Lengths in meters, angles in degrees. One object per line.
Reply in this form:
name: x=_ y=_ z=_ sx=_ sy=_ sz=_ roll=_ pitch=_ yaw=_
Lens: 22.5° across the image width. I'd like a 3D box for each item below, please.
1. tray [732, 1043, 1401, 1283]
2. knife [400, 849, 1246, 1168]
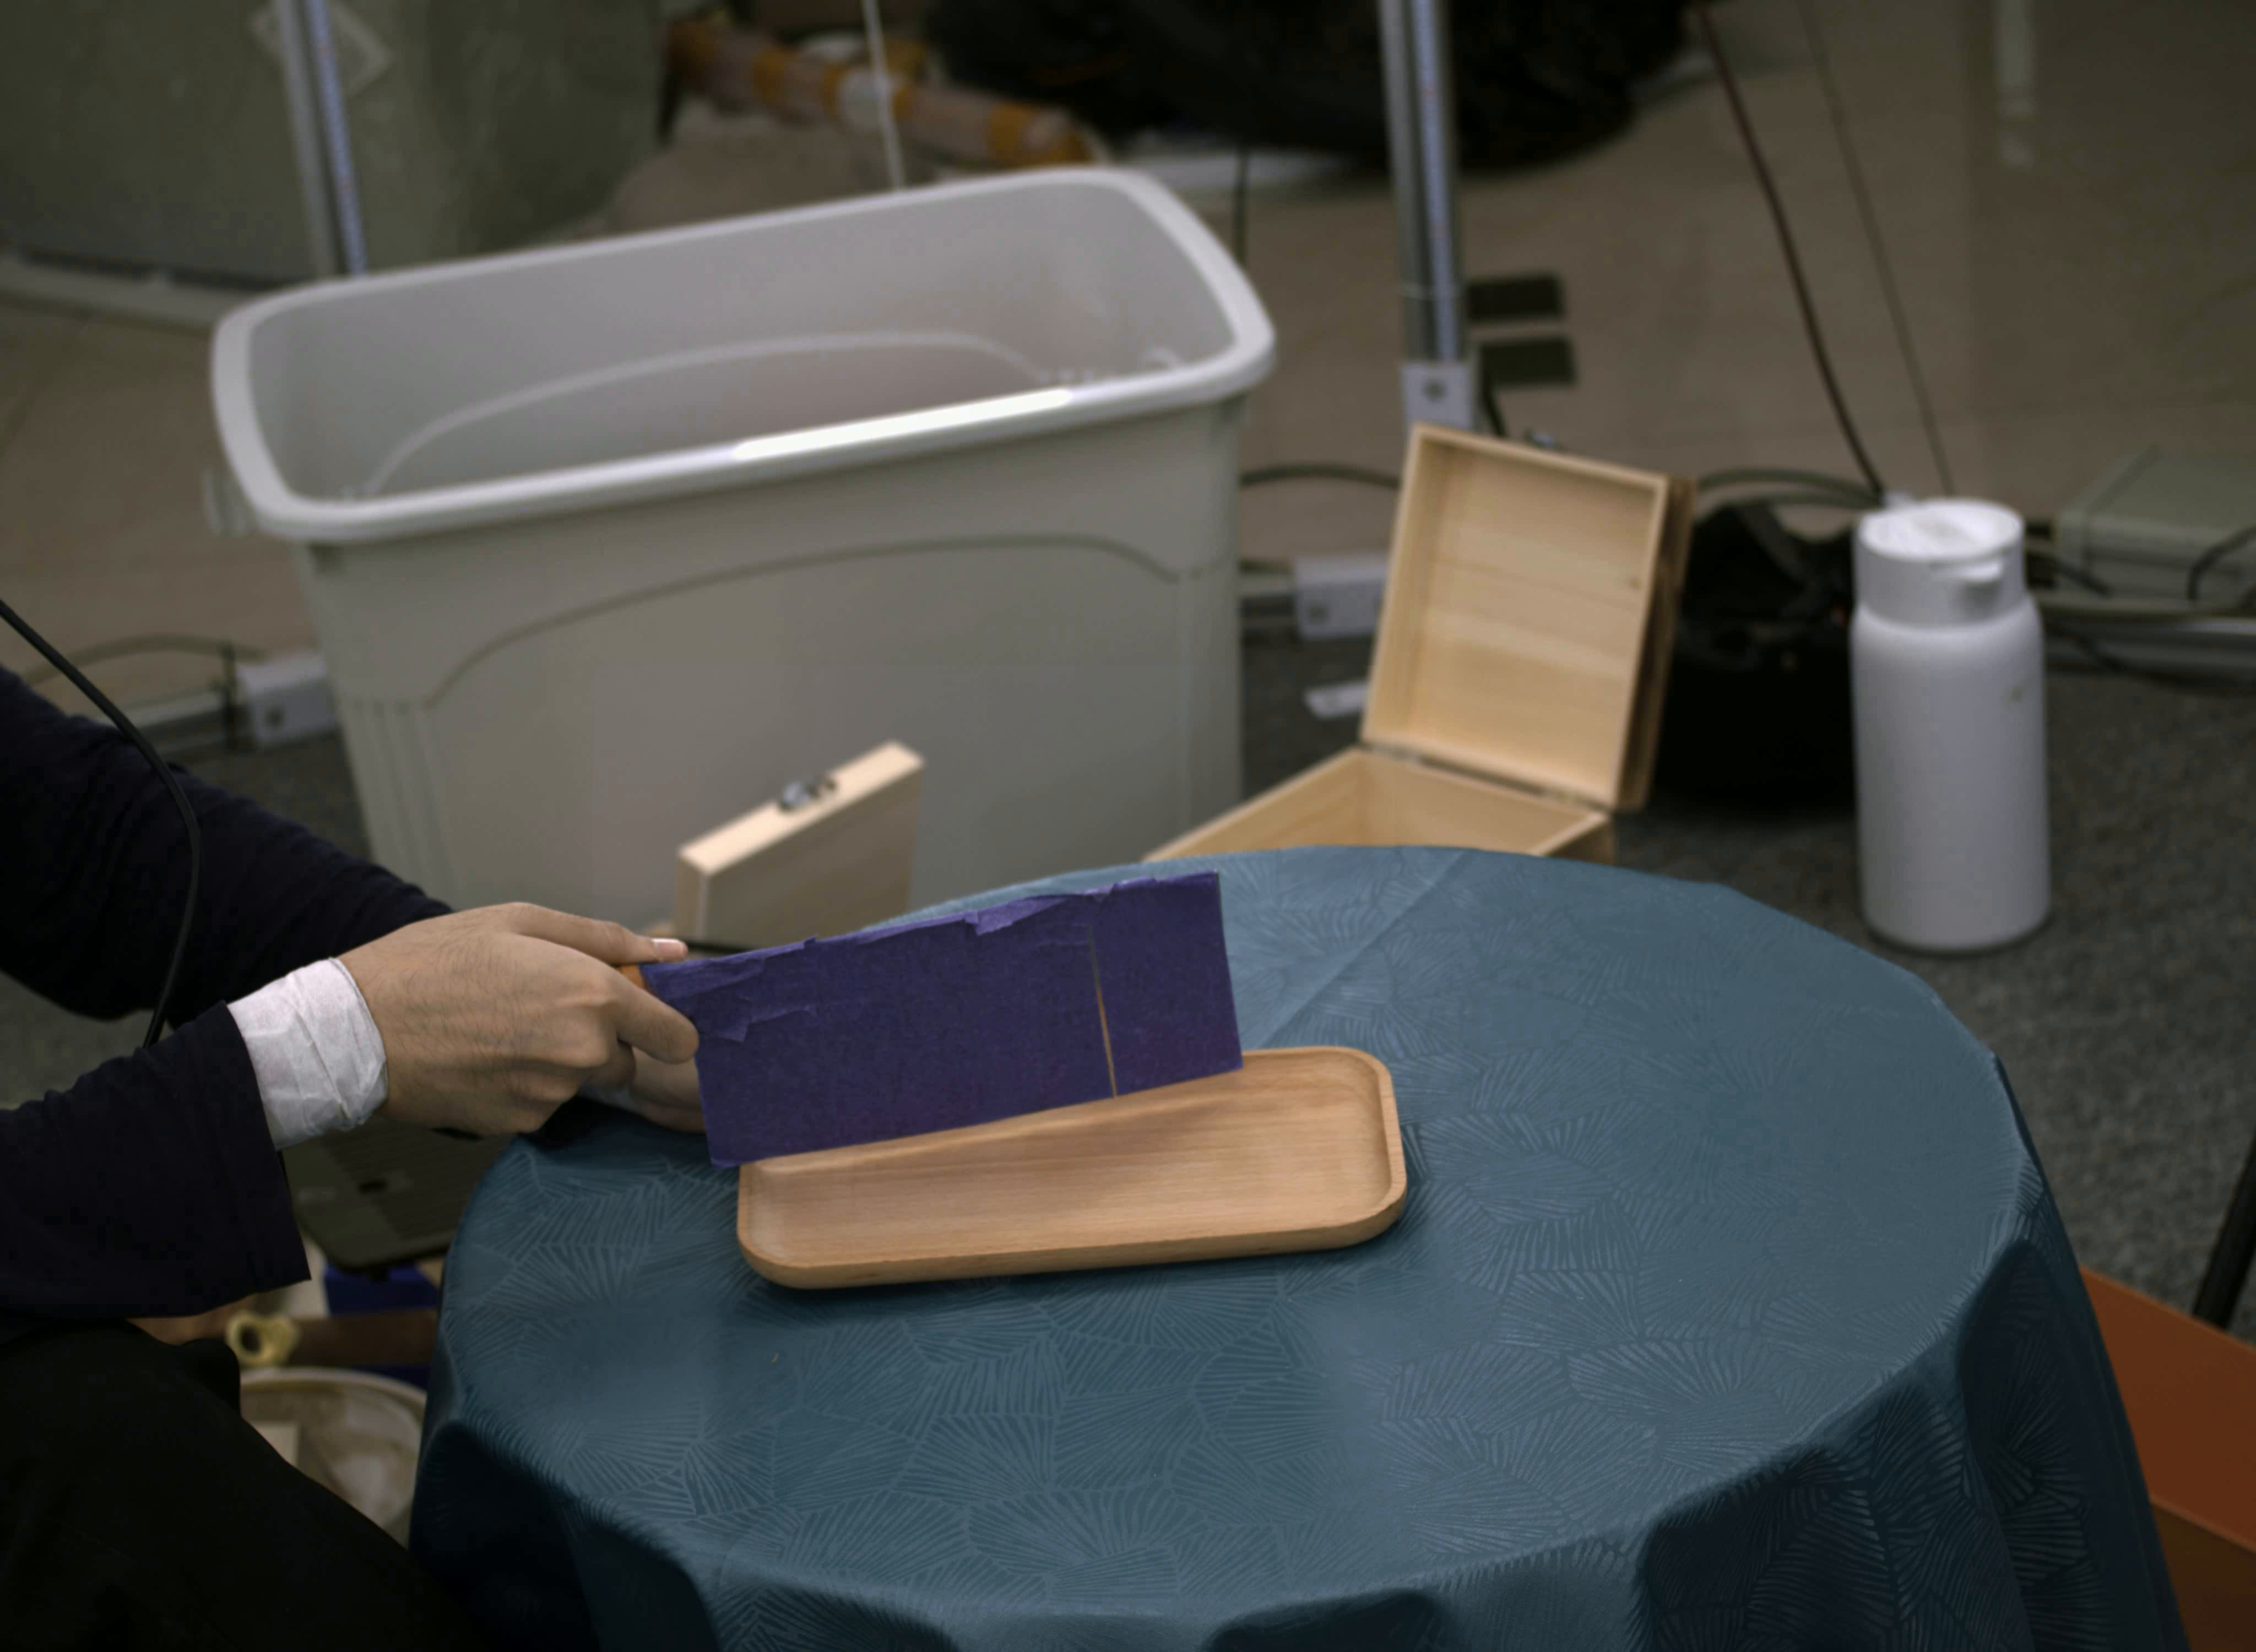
tray: x=-0.023 y=0.128 z=2.142 sx=0.250 sy=0.023 sz=0.128 roll=-4 pitch=28 yaw=3
knife: x=-0.111 y=0.082 z=2.125 sx=0.314 sy=0.105 sz=0.032 roll=-10 pitch=28 yaw=-5
